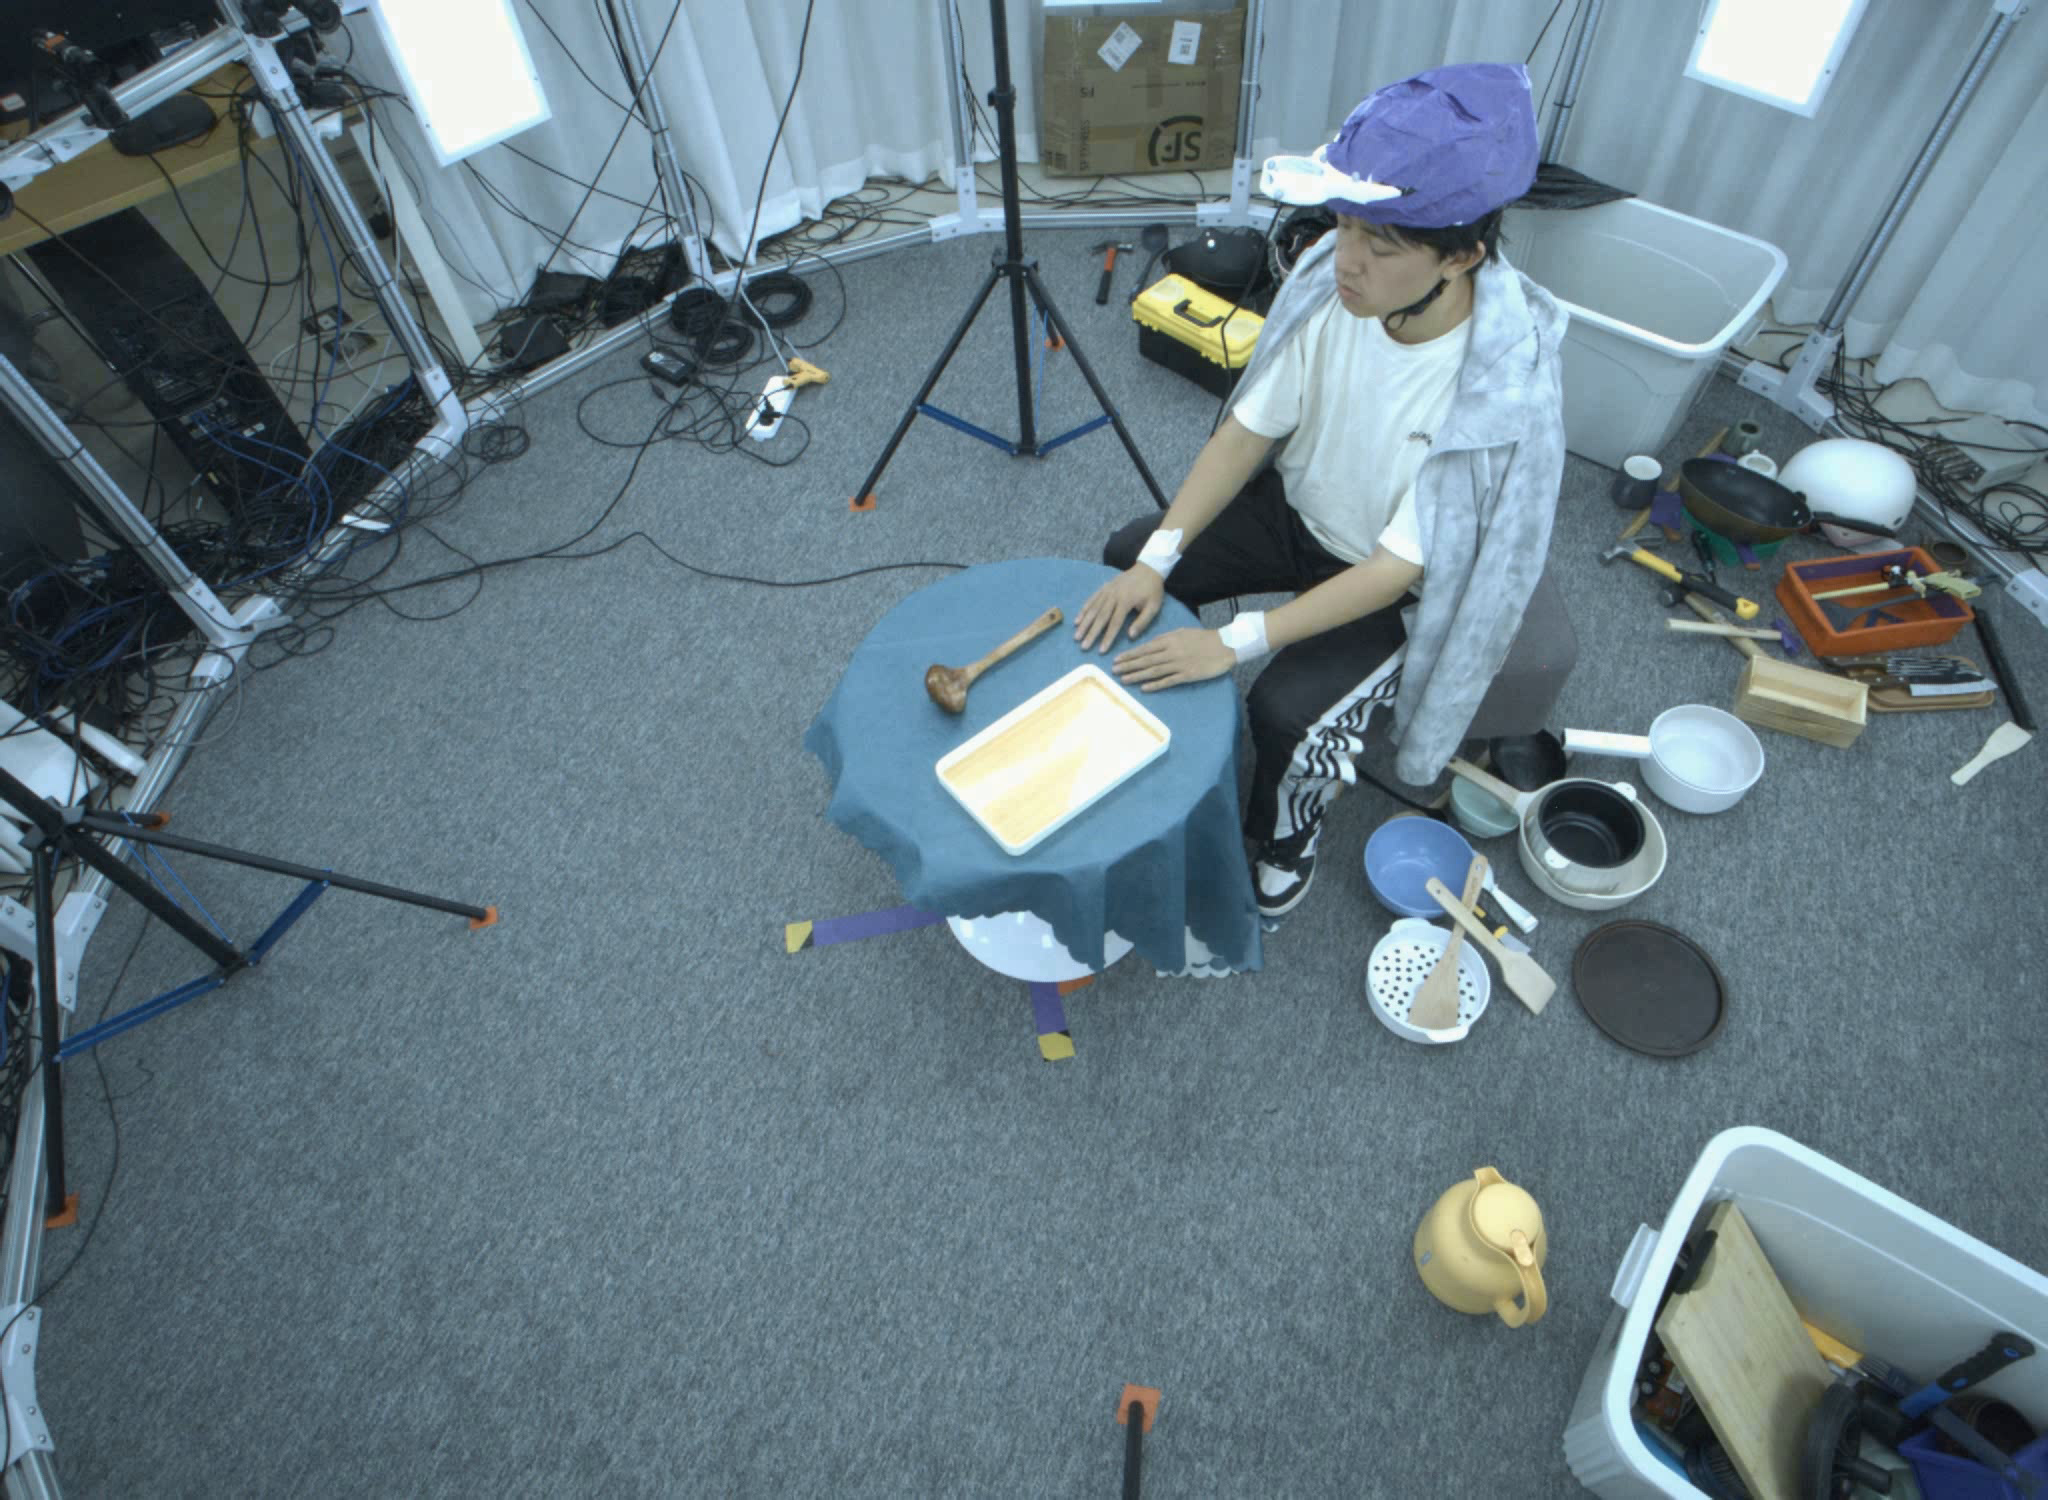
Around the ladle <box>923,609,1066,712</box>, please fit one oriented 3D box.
[{"bbox_3d":[-0.037,-0.148,1.852,0.276,0.075,0.082,-34,99,-21],"label":"ladle"}]

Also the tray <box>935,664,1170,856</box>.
[{"bbox_3d":[0.043,0.009,1.765,0.302,0.028,0.188,-34,60,-20],"label":"tray"}]
